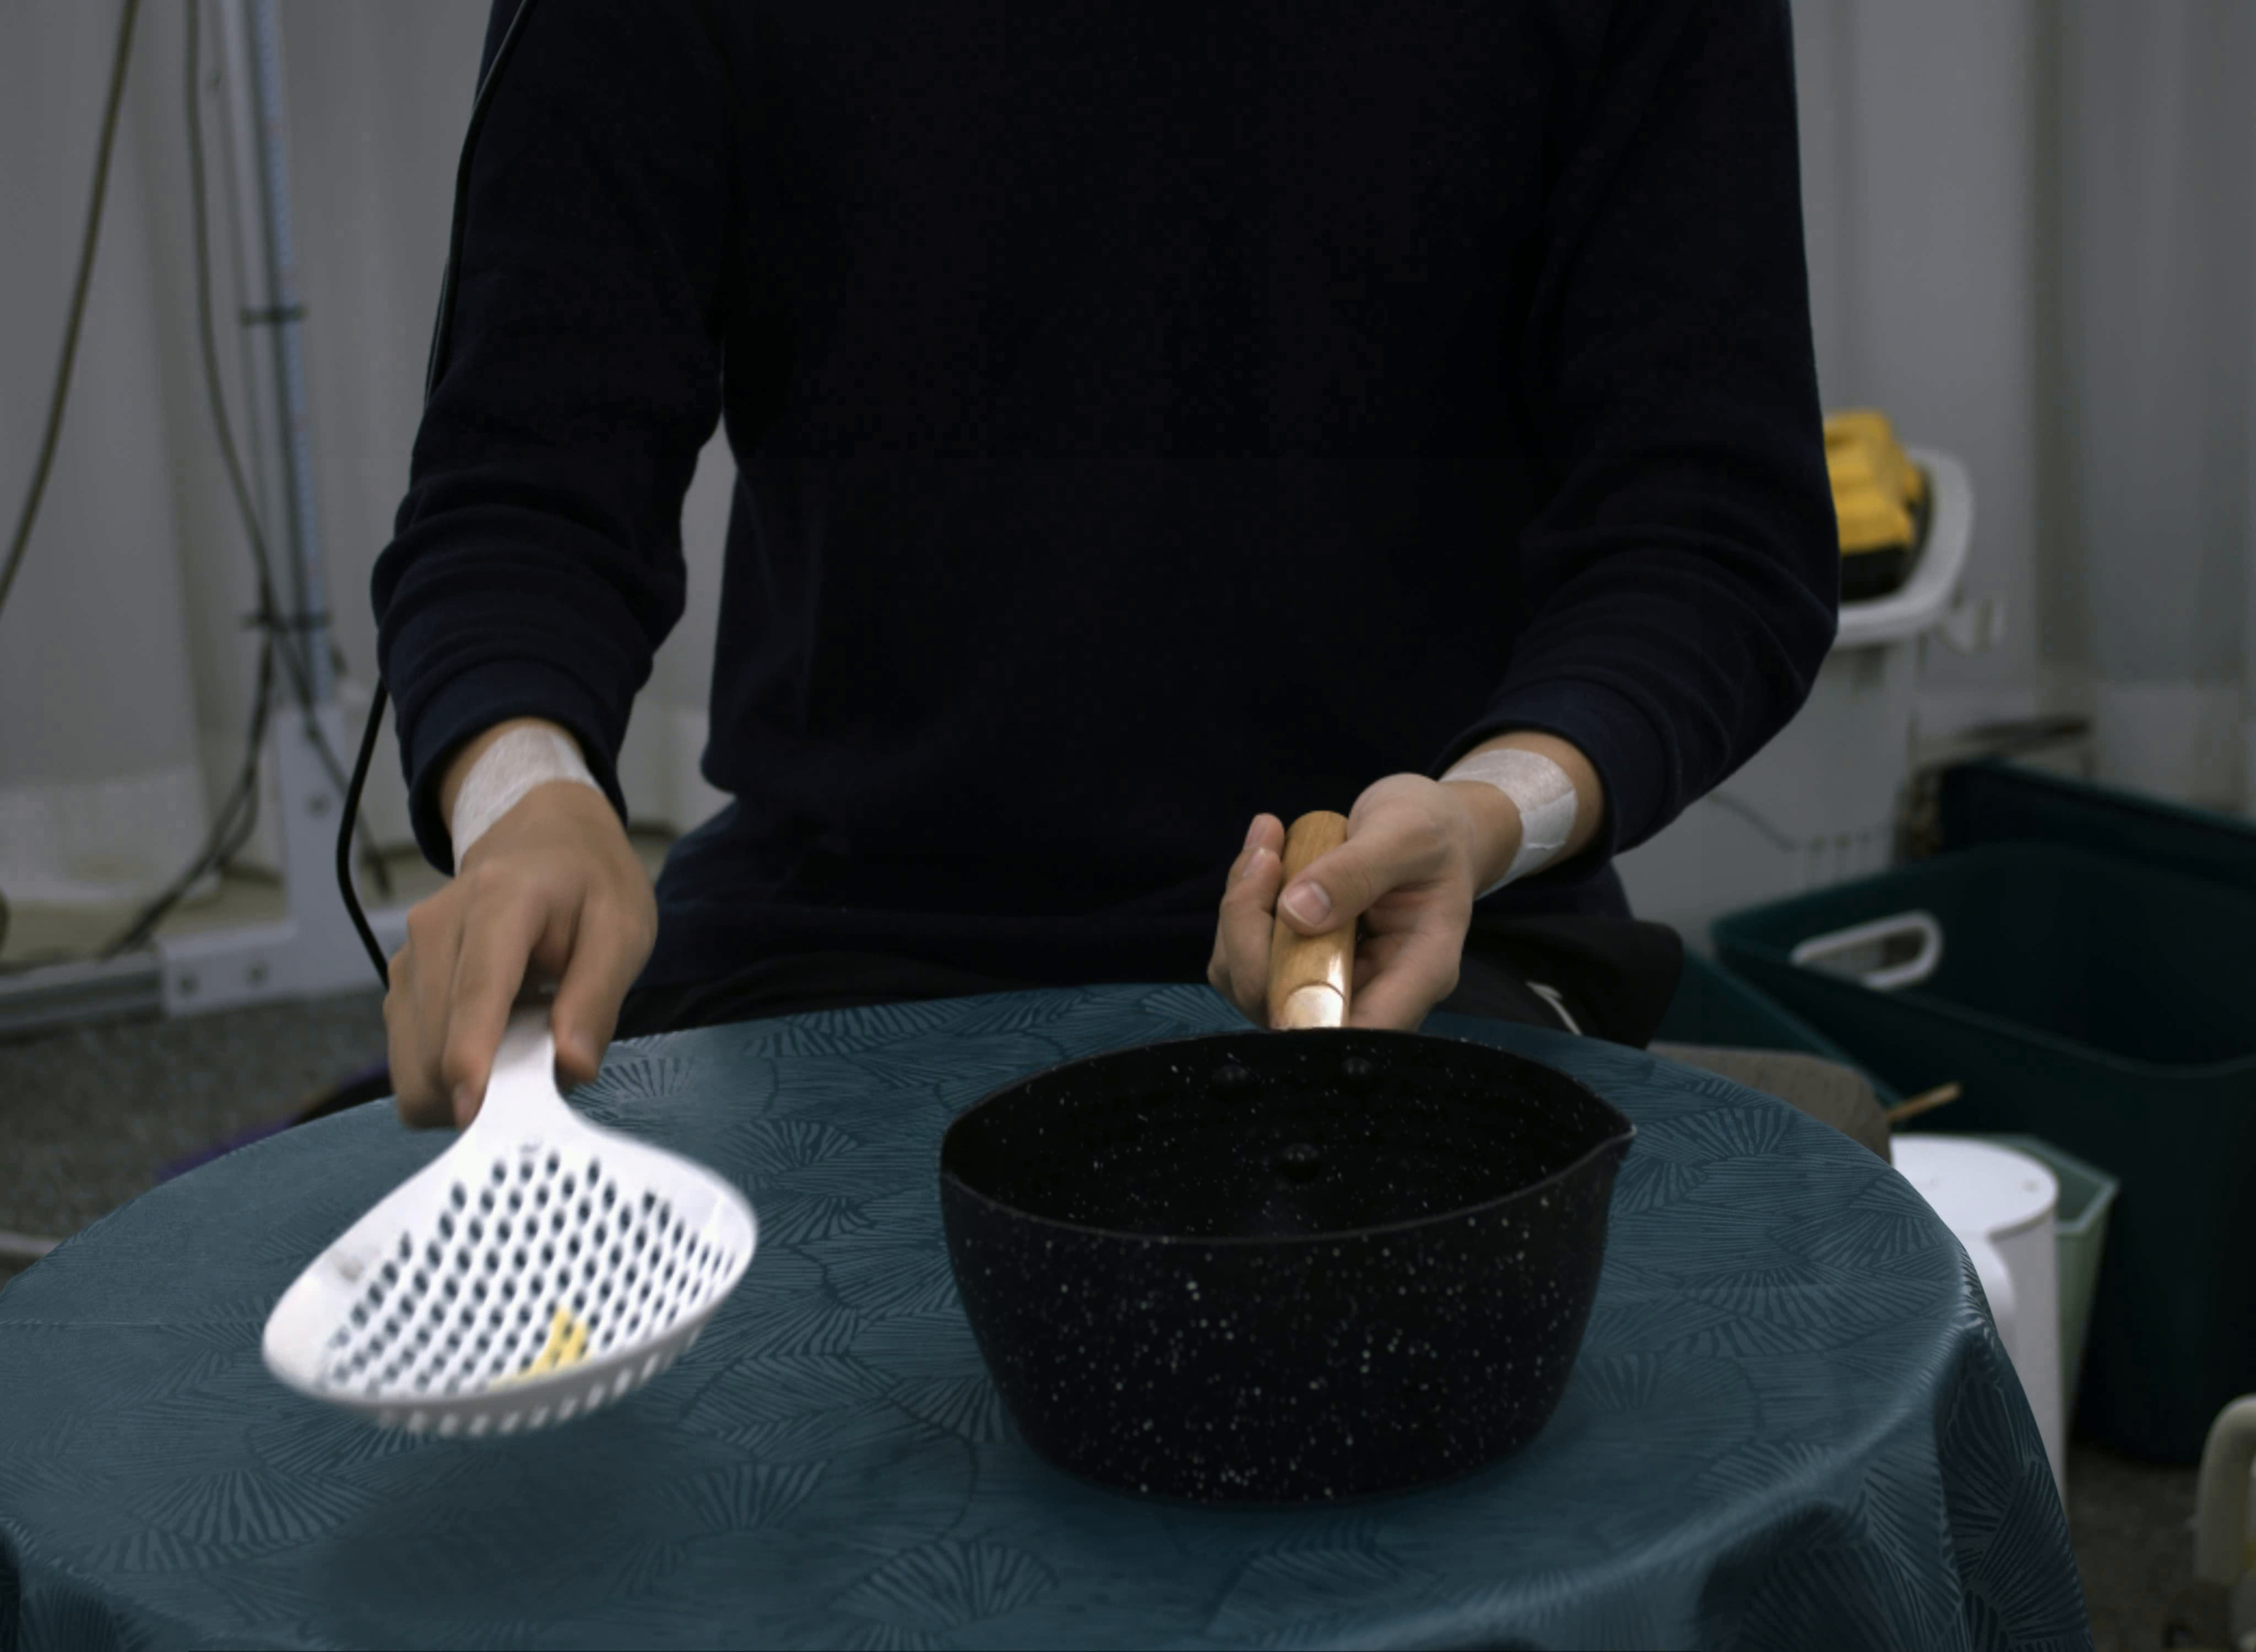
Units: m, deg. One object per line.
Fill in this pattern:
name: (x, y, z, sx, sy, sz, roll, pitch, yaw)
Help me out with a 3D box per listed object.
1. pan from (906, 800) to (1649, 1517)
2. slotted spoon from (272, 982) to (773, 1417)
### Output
pan: (0.048, 0.091, 1.588, 0.207, 0.108, 0.345, -3, 16, 5)
slotted spoon: (-0.173, 0.092, 1.564, 0.136, 0.050, 0.351, -14, 23, -3)
